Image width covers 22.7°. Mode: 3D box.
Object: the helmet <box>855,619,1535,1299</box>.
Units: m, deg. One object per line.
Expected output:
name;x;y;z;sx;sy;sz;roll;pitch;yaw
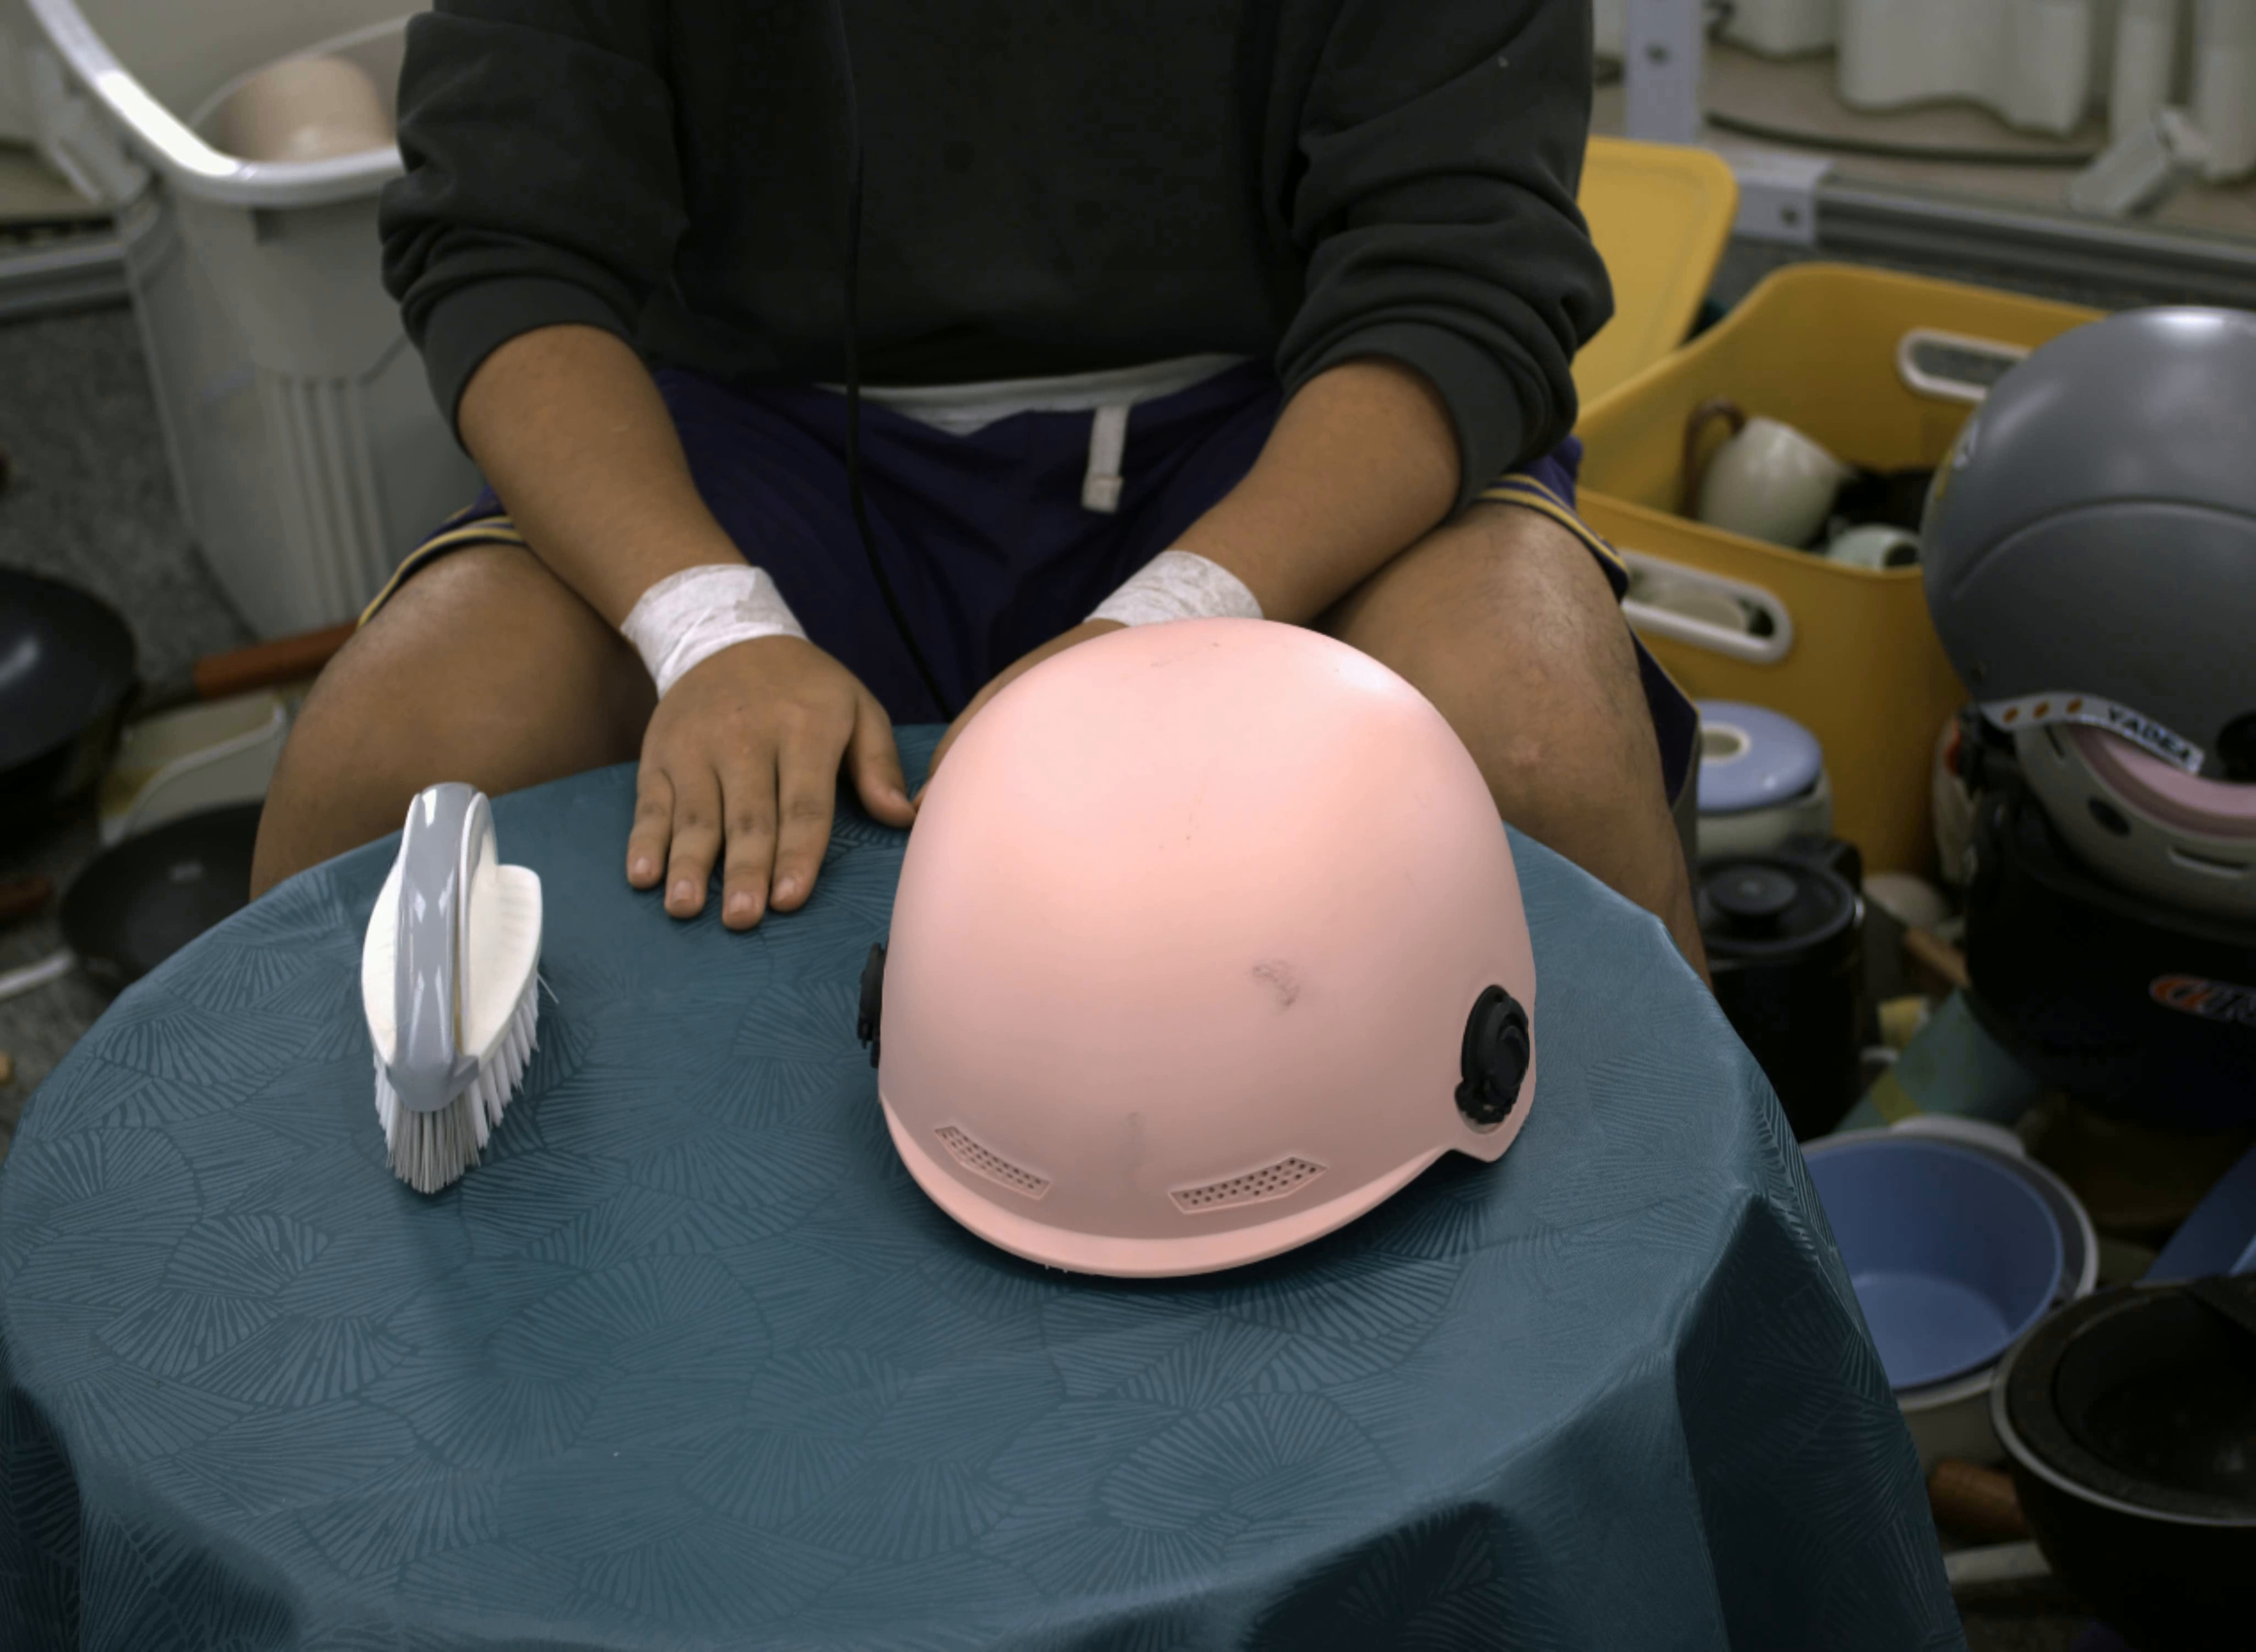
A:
helmet;0.022;0.025;1.885;0.232;0.157;0.271;4;32;14

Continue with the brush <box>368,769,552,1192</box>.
brush;-0.234;0.045;1.935;0.061;0.093;0.178;-4;29;0
